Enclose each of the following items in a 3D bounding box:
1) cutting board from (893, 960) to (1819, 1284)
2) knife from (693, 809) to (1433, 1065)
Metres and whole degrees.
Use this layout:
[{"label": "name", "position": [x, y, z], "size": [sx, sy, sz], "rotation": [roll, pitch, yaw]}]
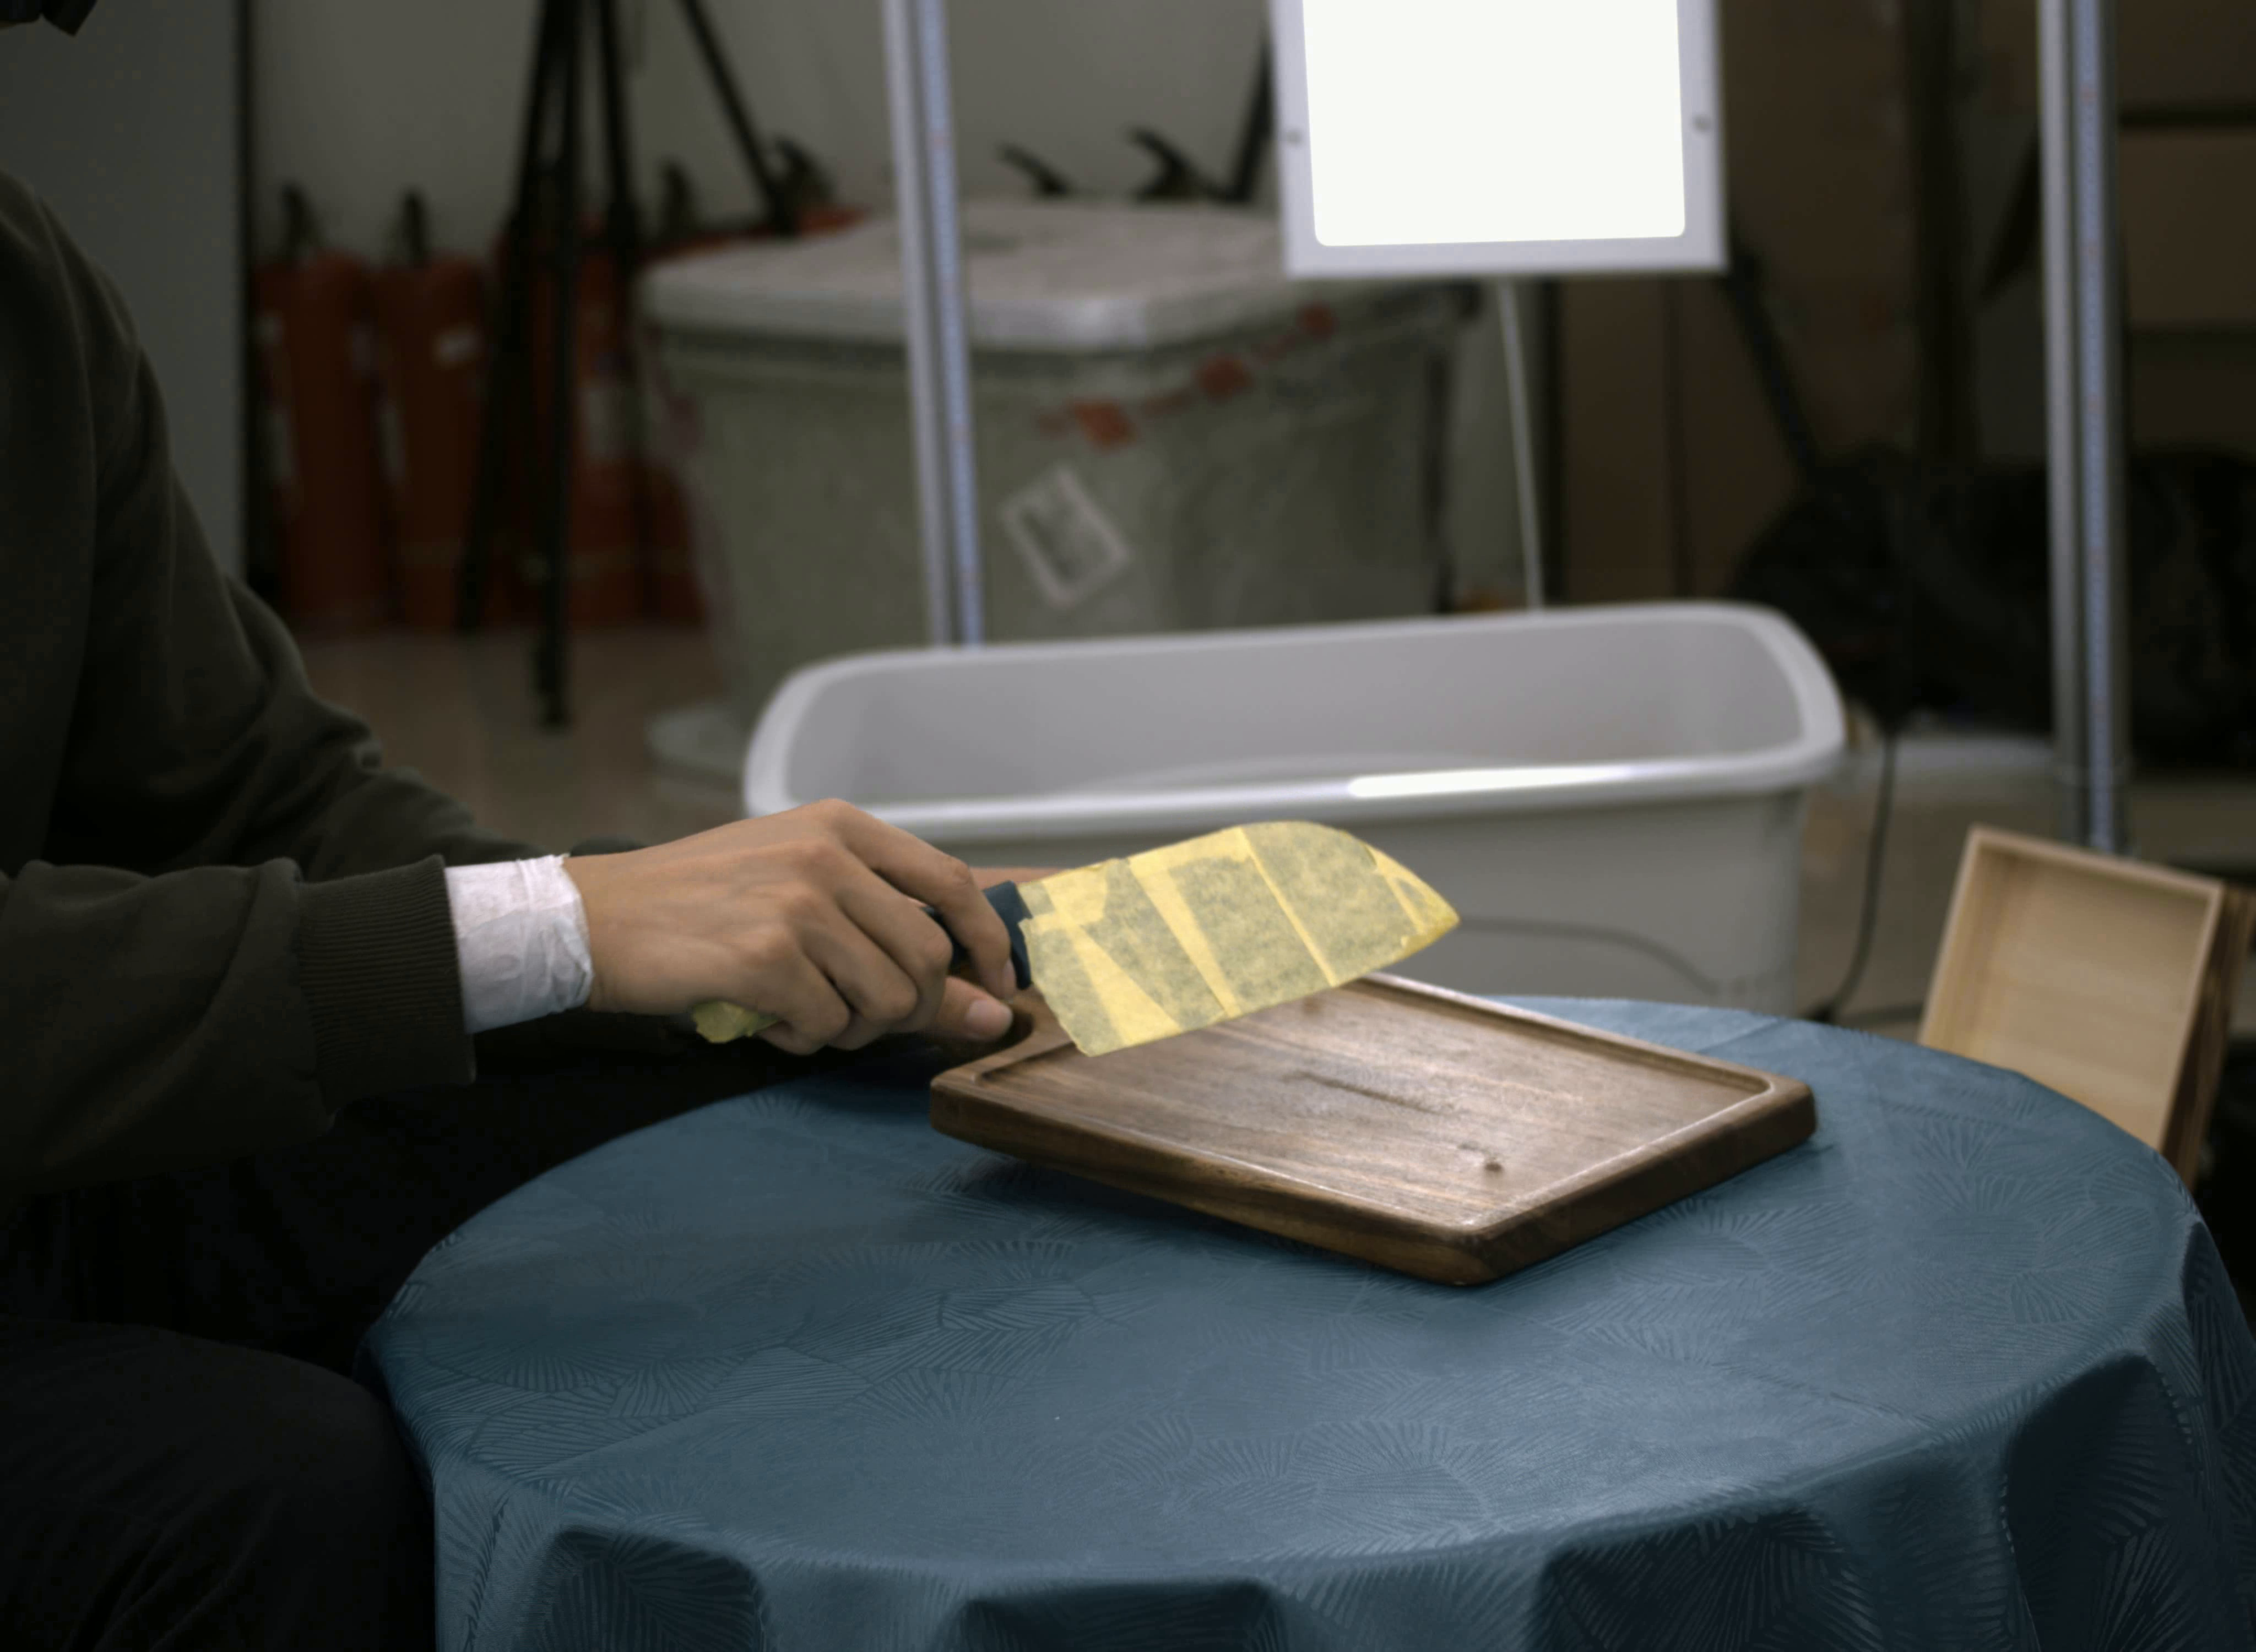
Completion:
[{"label": "cutting board", "position": [0.049, 0.089, 1.945], "size": [0.359, 0.023, 0.196], "rotation": [13, 22, 42]}, {"label": "knife", "position": [-0.015, 0.045, 1.876], "size": [0.283, 0.027, 0.082], "rotation": [-14, 56, -27]}]
